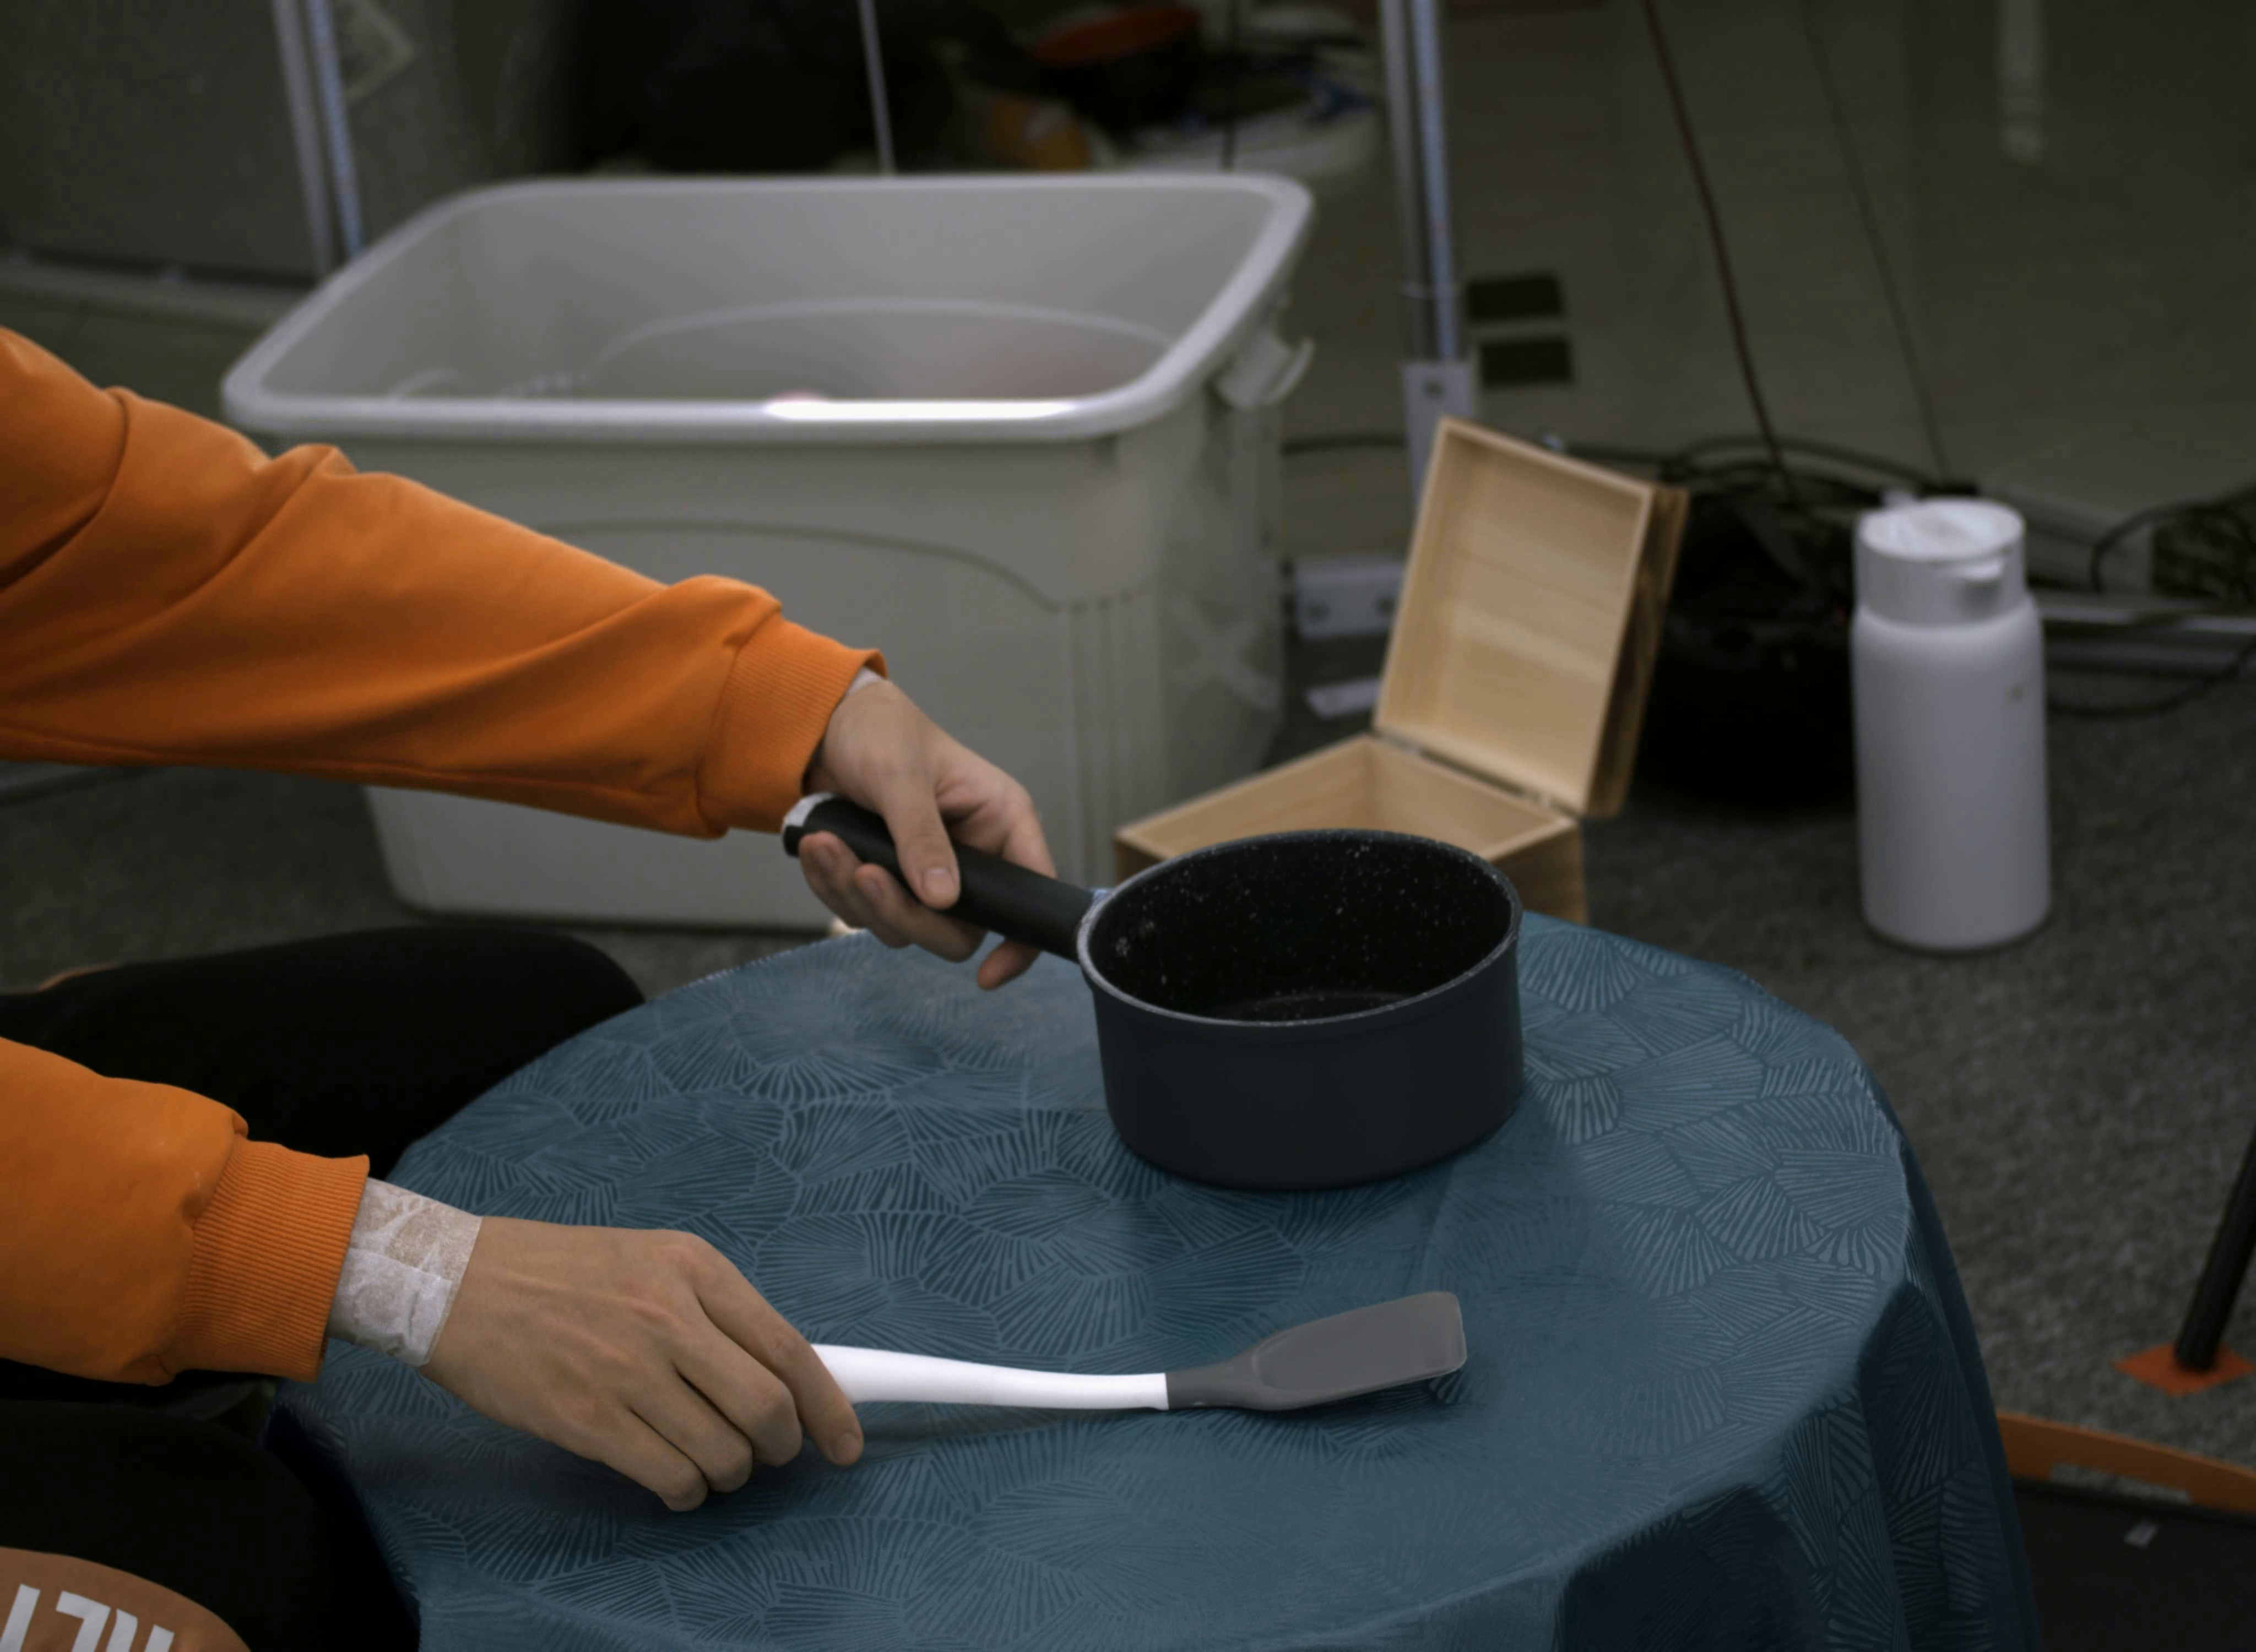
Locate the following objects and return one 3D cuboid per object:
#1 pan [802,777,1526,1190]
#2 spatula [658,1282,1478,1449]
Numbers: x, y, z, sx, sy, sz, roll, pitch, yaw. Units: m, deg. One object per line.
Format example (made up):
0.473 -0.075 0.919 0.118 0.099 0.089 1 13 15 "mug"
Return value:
0.006 0.054 2.227 0.326 0.088 0.170 14 31 35 "pan"
-0.021 0.192 1.996 0.287 0.033 0.058 -4 26 0 "spatula"
